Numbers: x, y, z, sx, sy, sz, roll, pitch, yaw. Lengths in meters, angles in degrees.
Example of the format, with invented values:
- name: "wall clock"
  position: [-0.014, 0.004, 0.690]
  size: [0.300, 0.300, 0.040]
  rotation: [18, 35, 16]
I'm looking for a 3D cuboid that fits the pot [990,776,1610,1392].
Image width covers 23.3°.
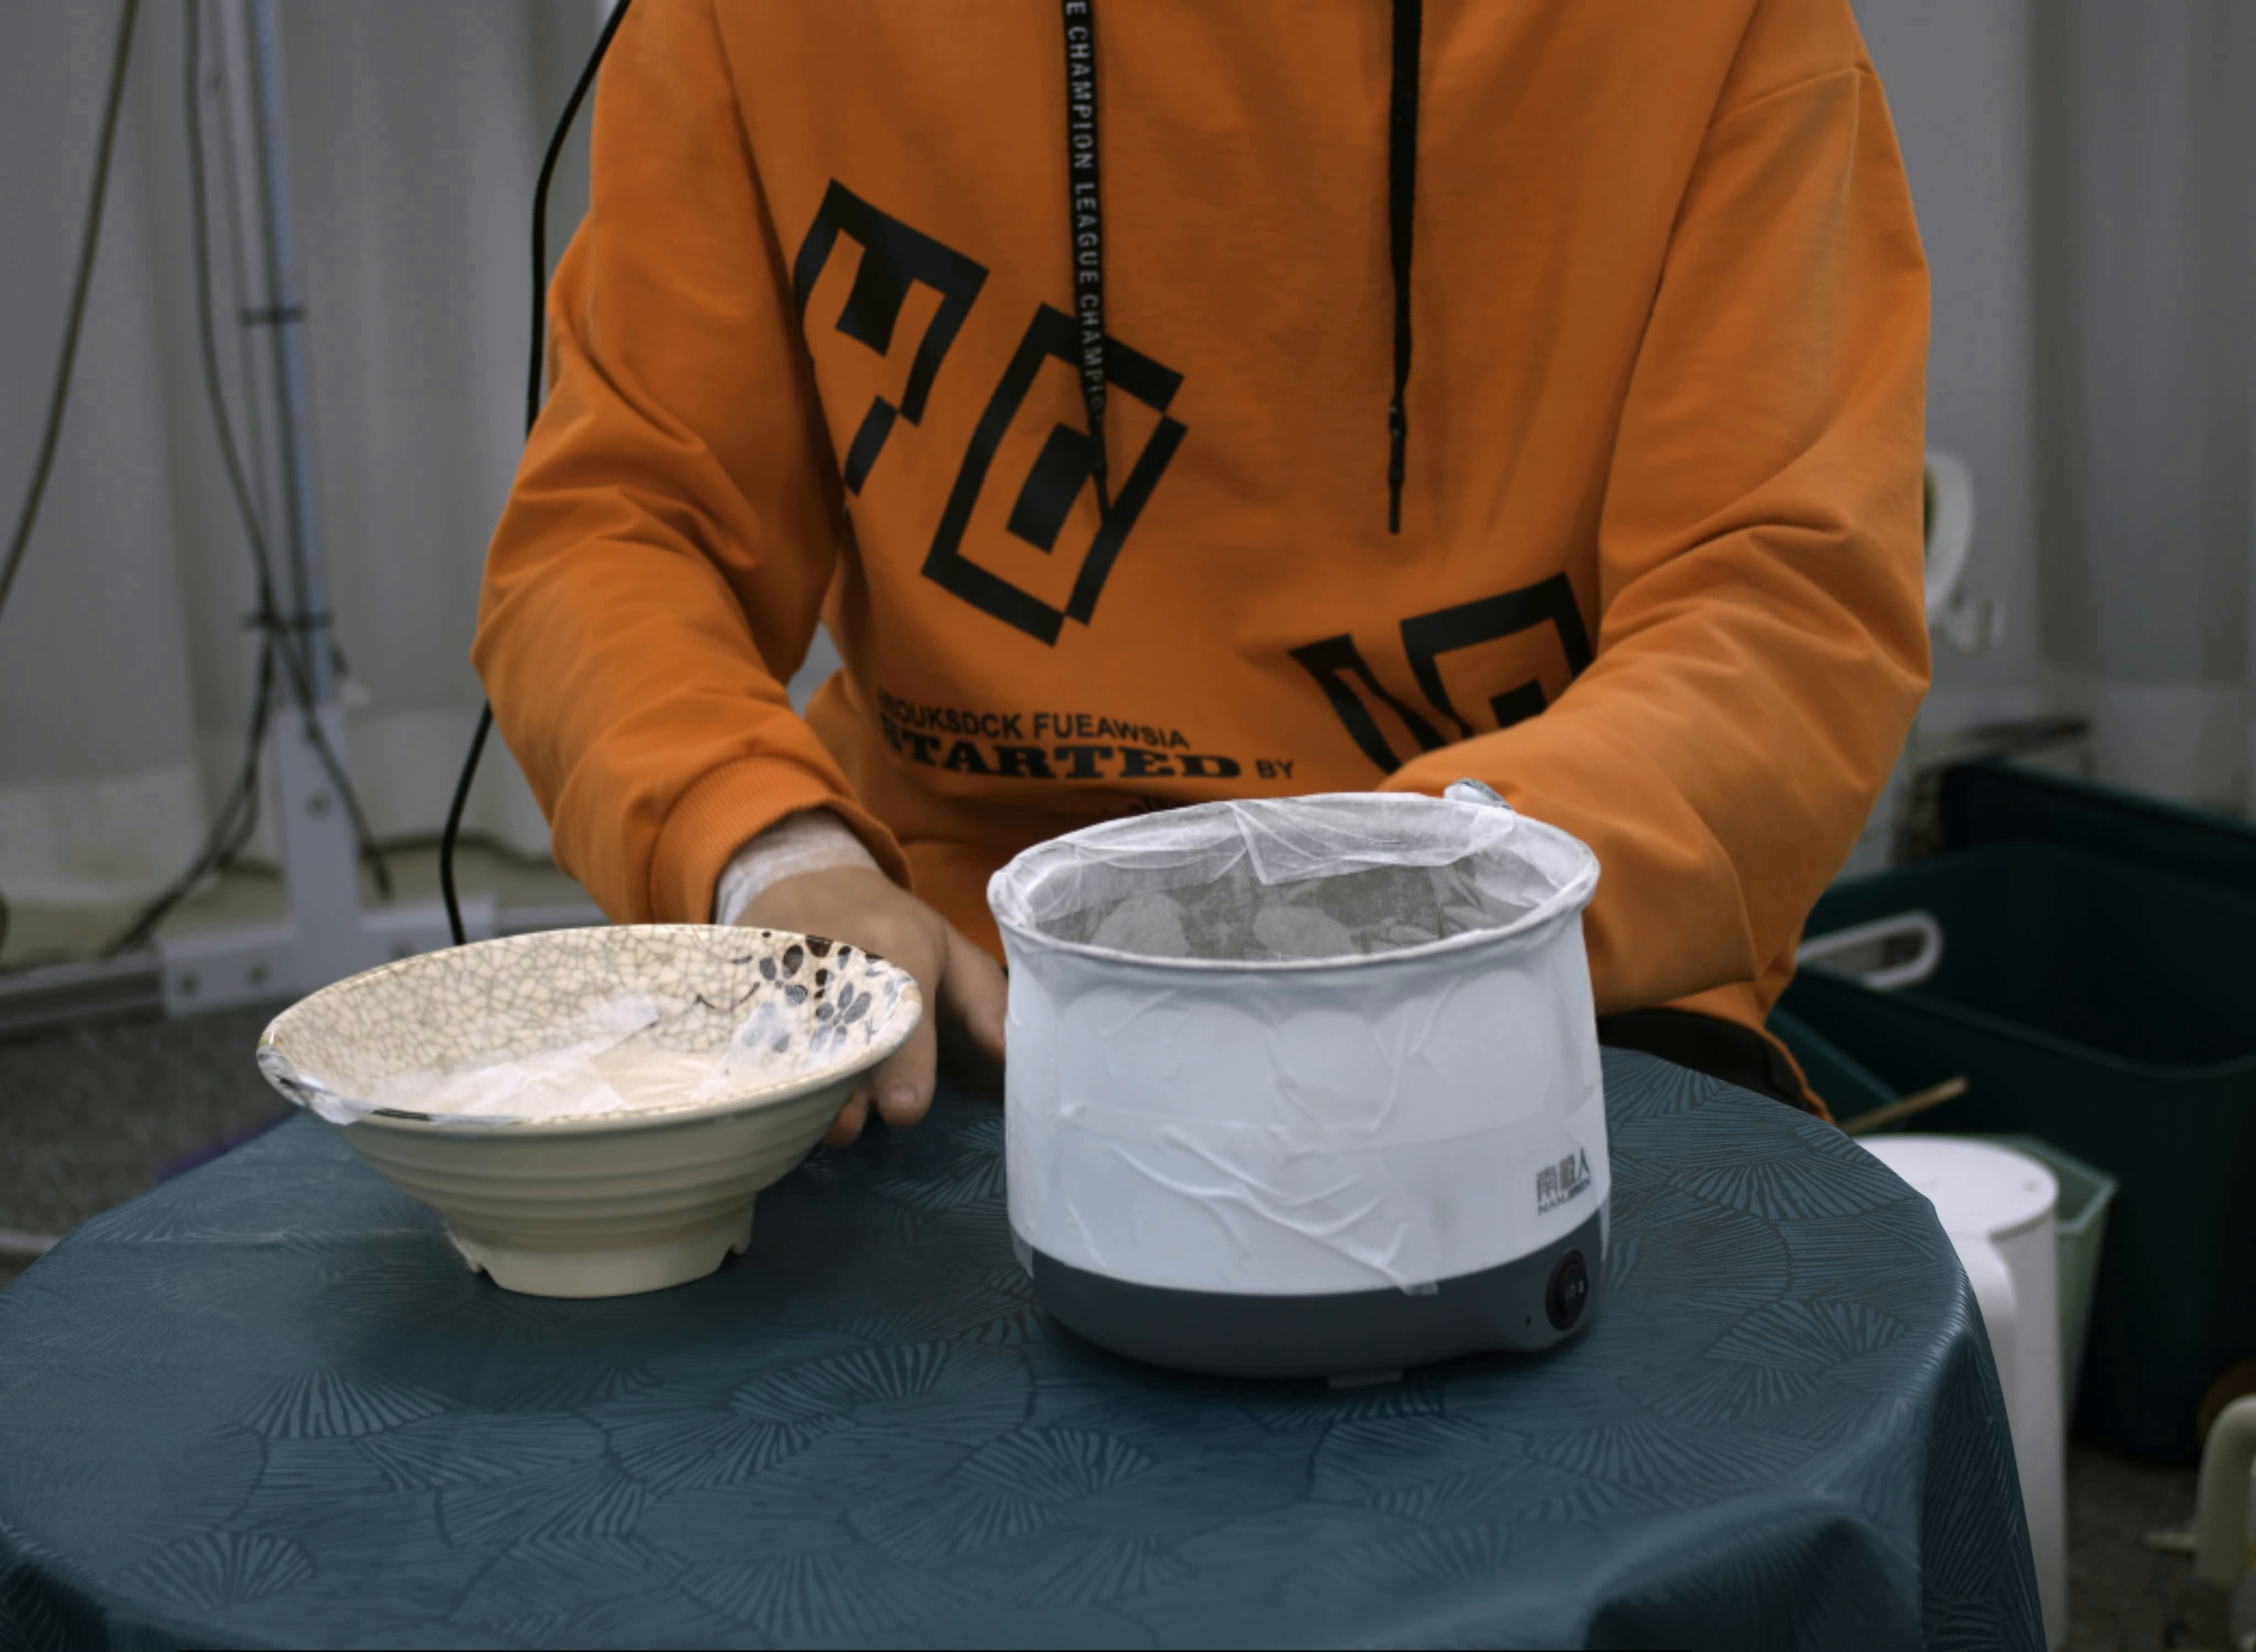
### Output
- name: "pot"
  position: [0.066, 0.068, 1.611]
  size: [0.179, 0.136, 0.234]
  rotation: [7, 18, 32]

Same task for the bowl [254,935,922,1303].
- name: "bowl"
  position: [-0.162, 0.096, 1.675]
  size: [0.203, 0.078, 0.205]
  rotation: [-3, 13, 0]
